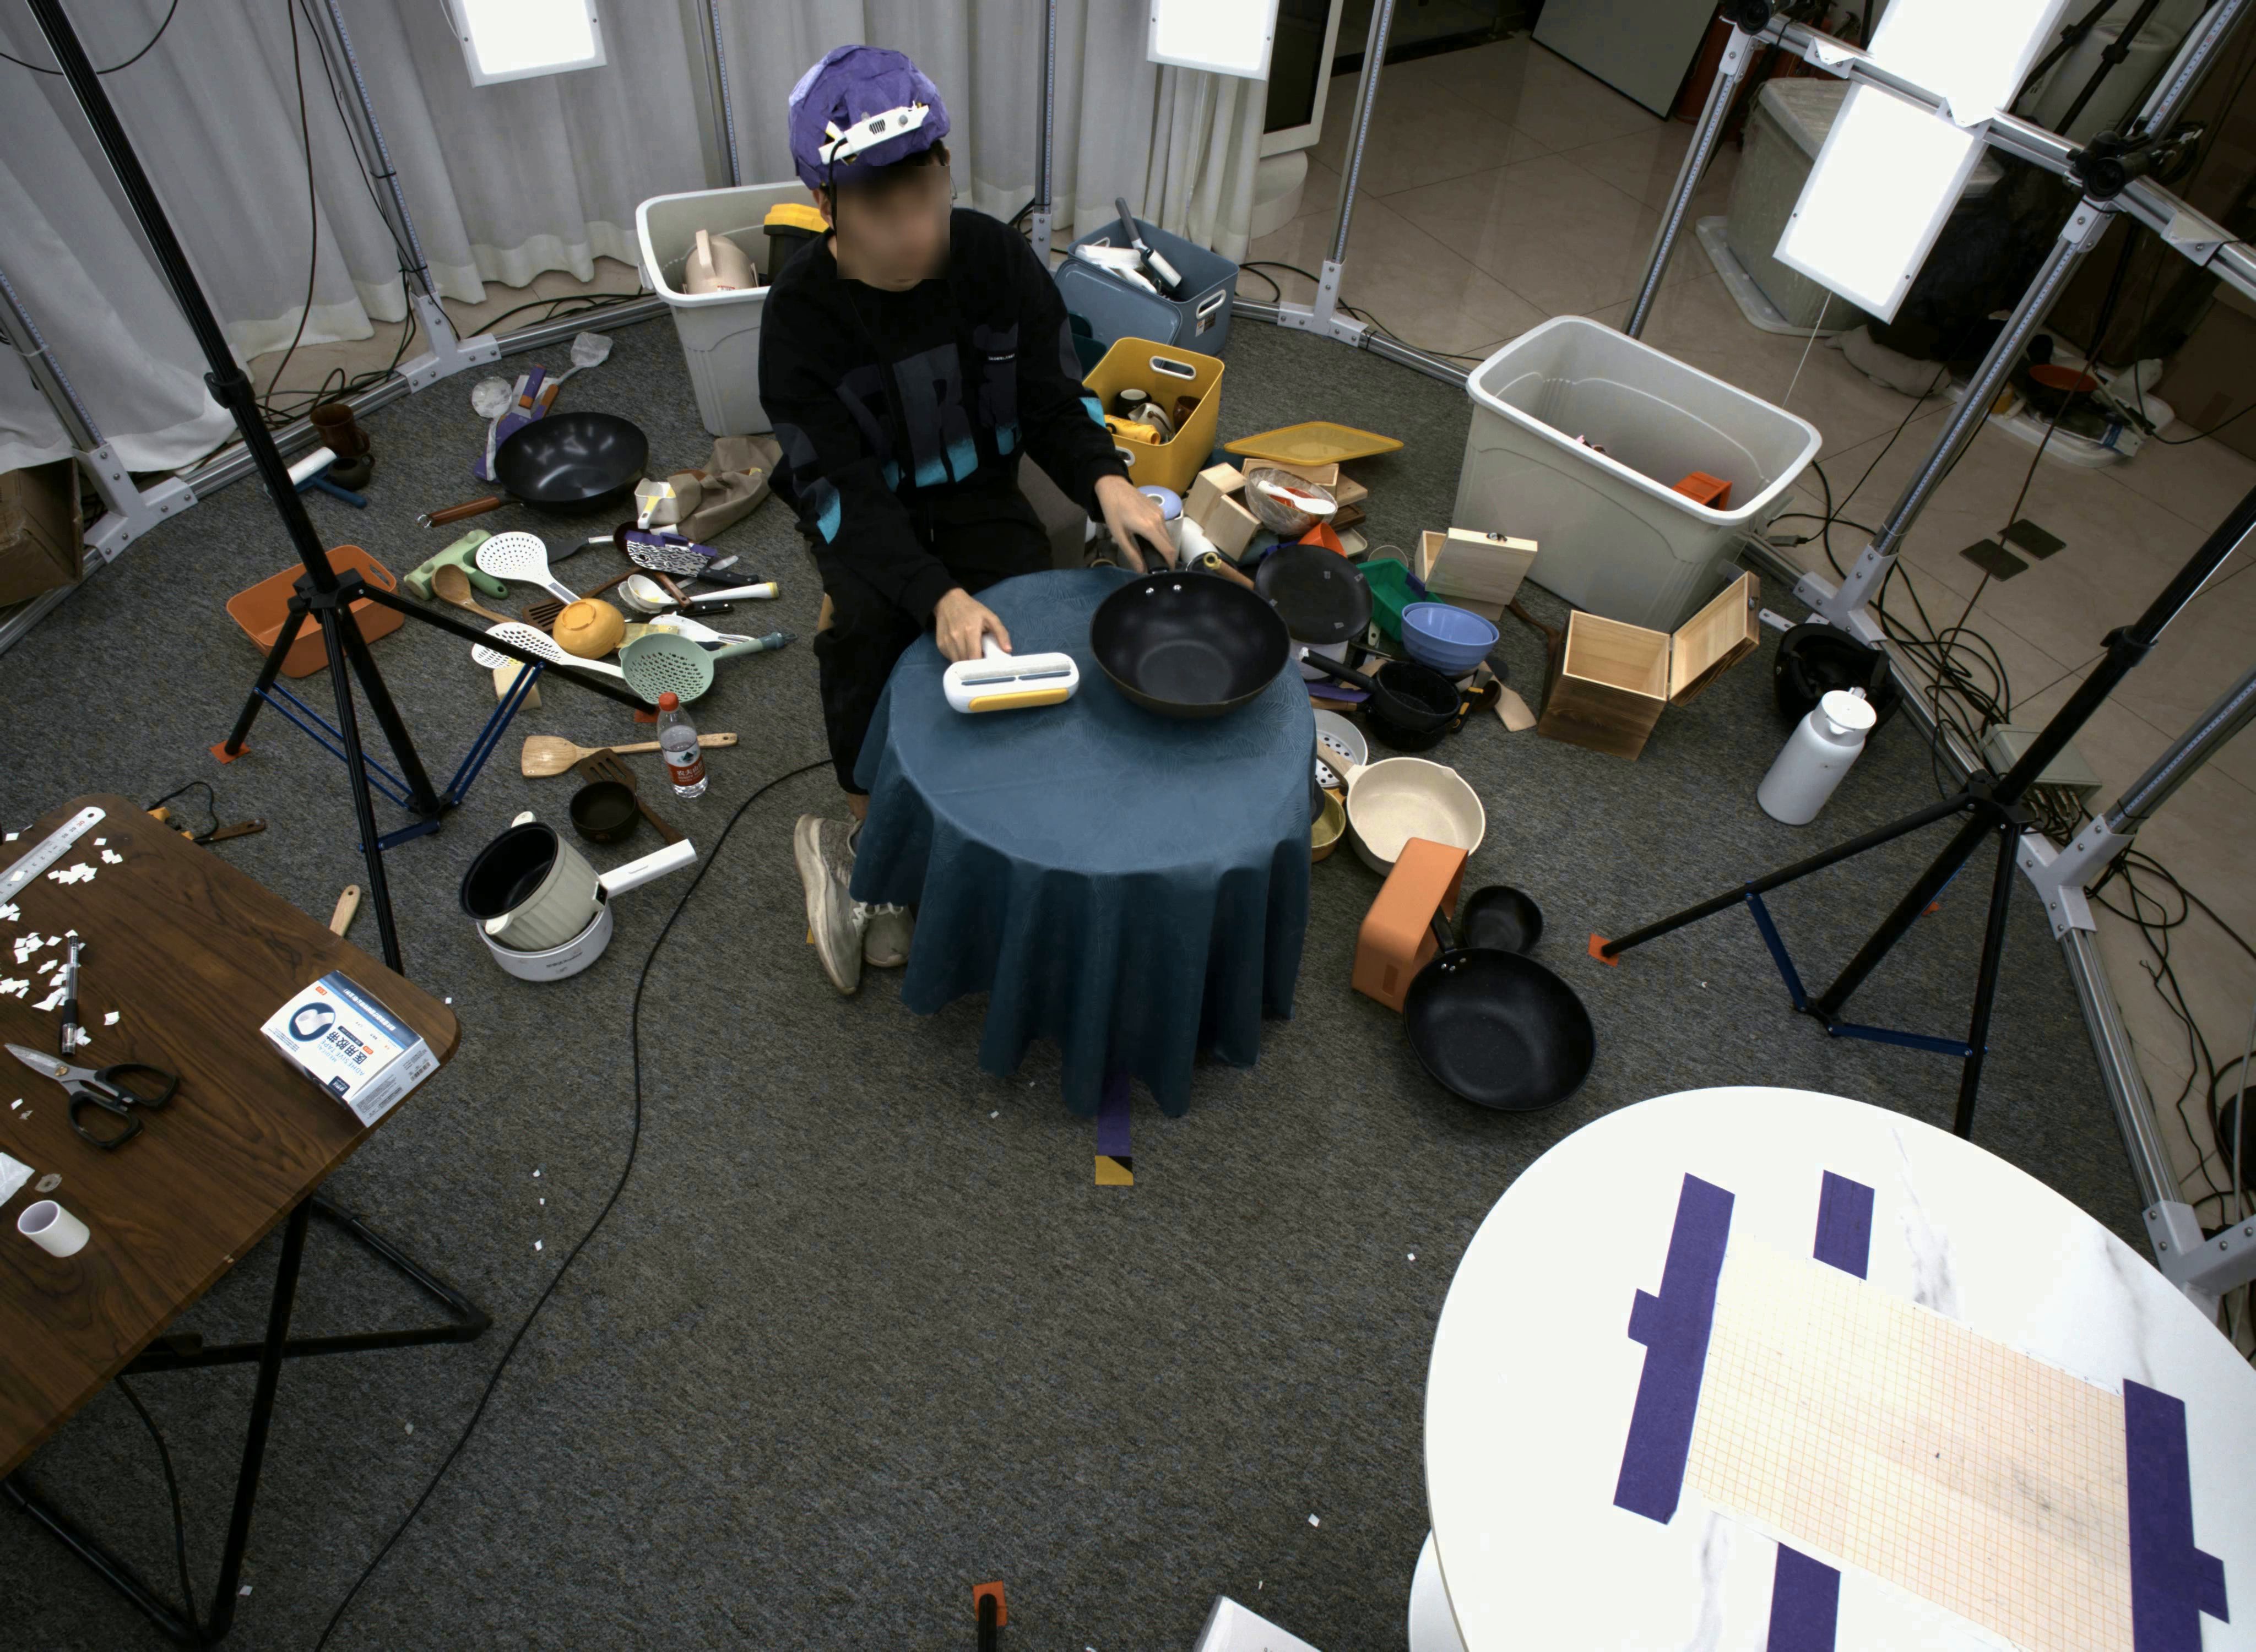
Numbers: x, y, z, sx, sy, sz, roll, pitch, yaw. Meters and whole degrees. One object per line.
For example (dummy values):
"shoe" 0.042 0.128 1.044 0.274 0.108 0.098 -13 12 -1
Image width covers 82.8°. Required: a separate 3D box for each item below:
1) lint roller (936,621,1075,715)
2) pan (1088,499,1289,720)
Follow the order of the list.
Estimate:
"lint roller" -0.186 -0.236 1.814 0.192 0.072 0.197 -8 51 -18
"pan" 0.061 -0.313 1.889 0.288 0.085 0.475 -10 50 -11
